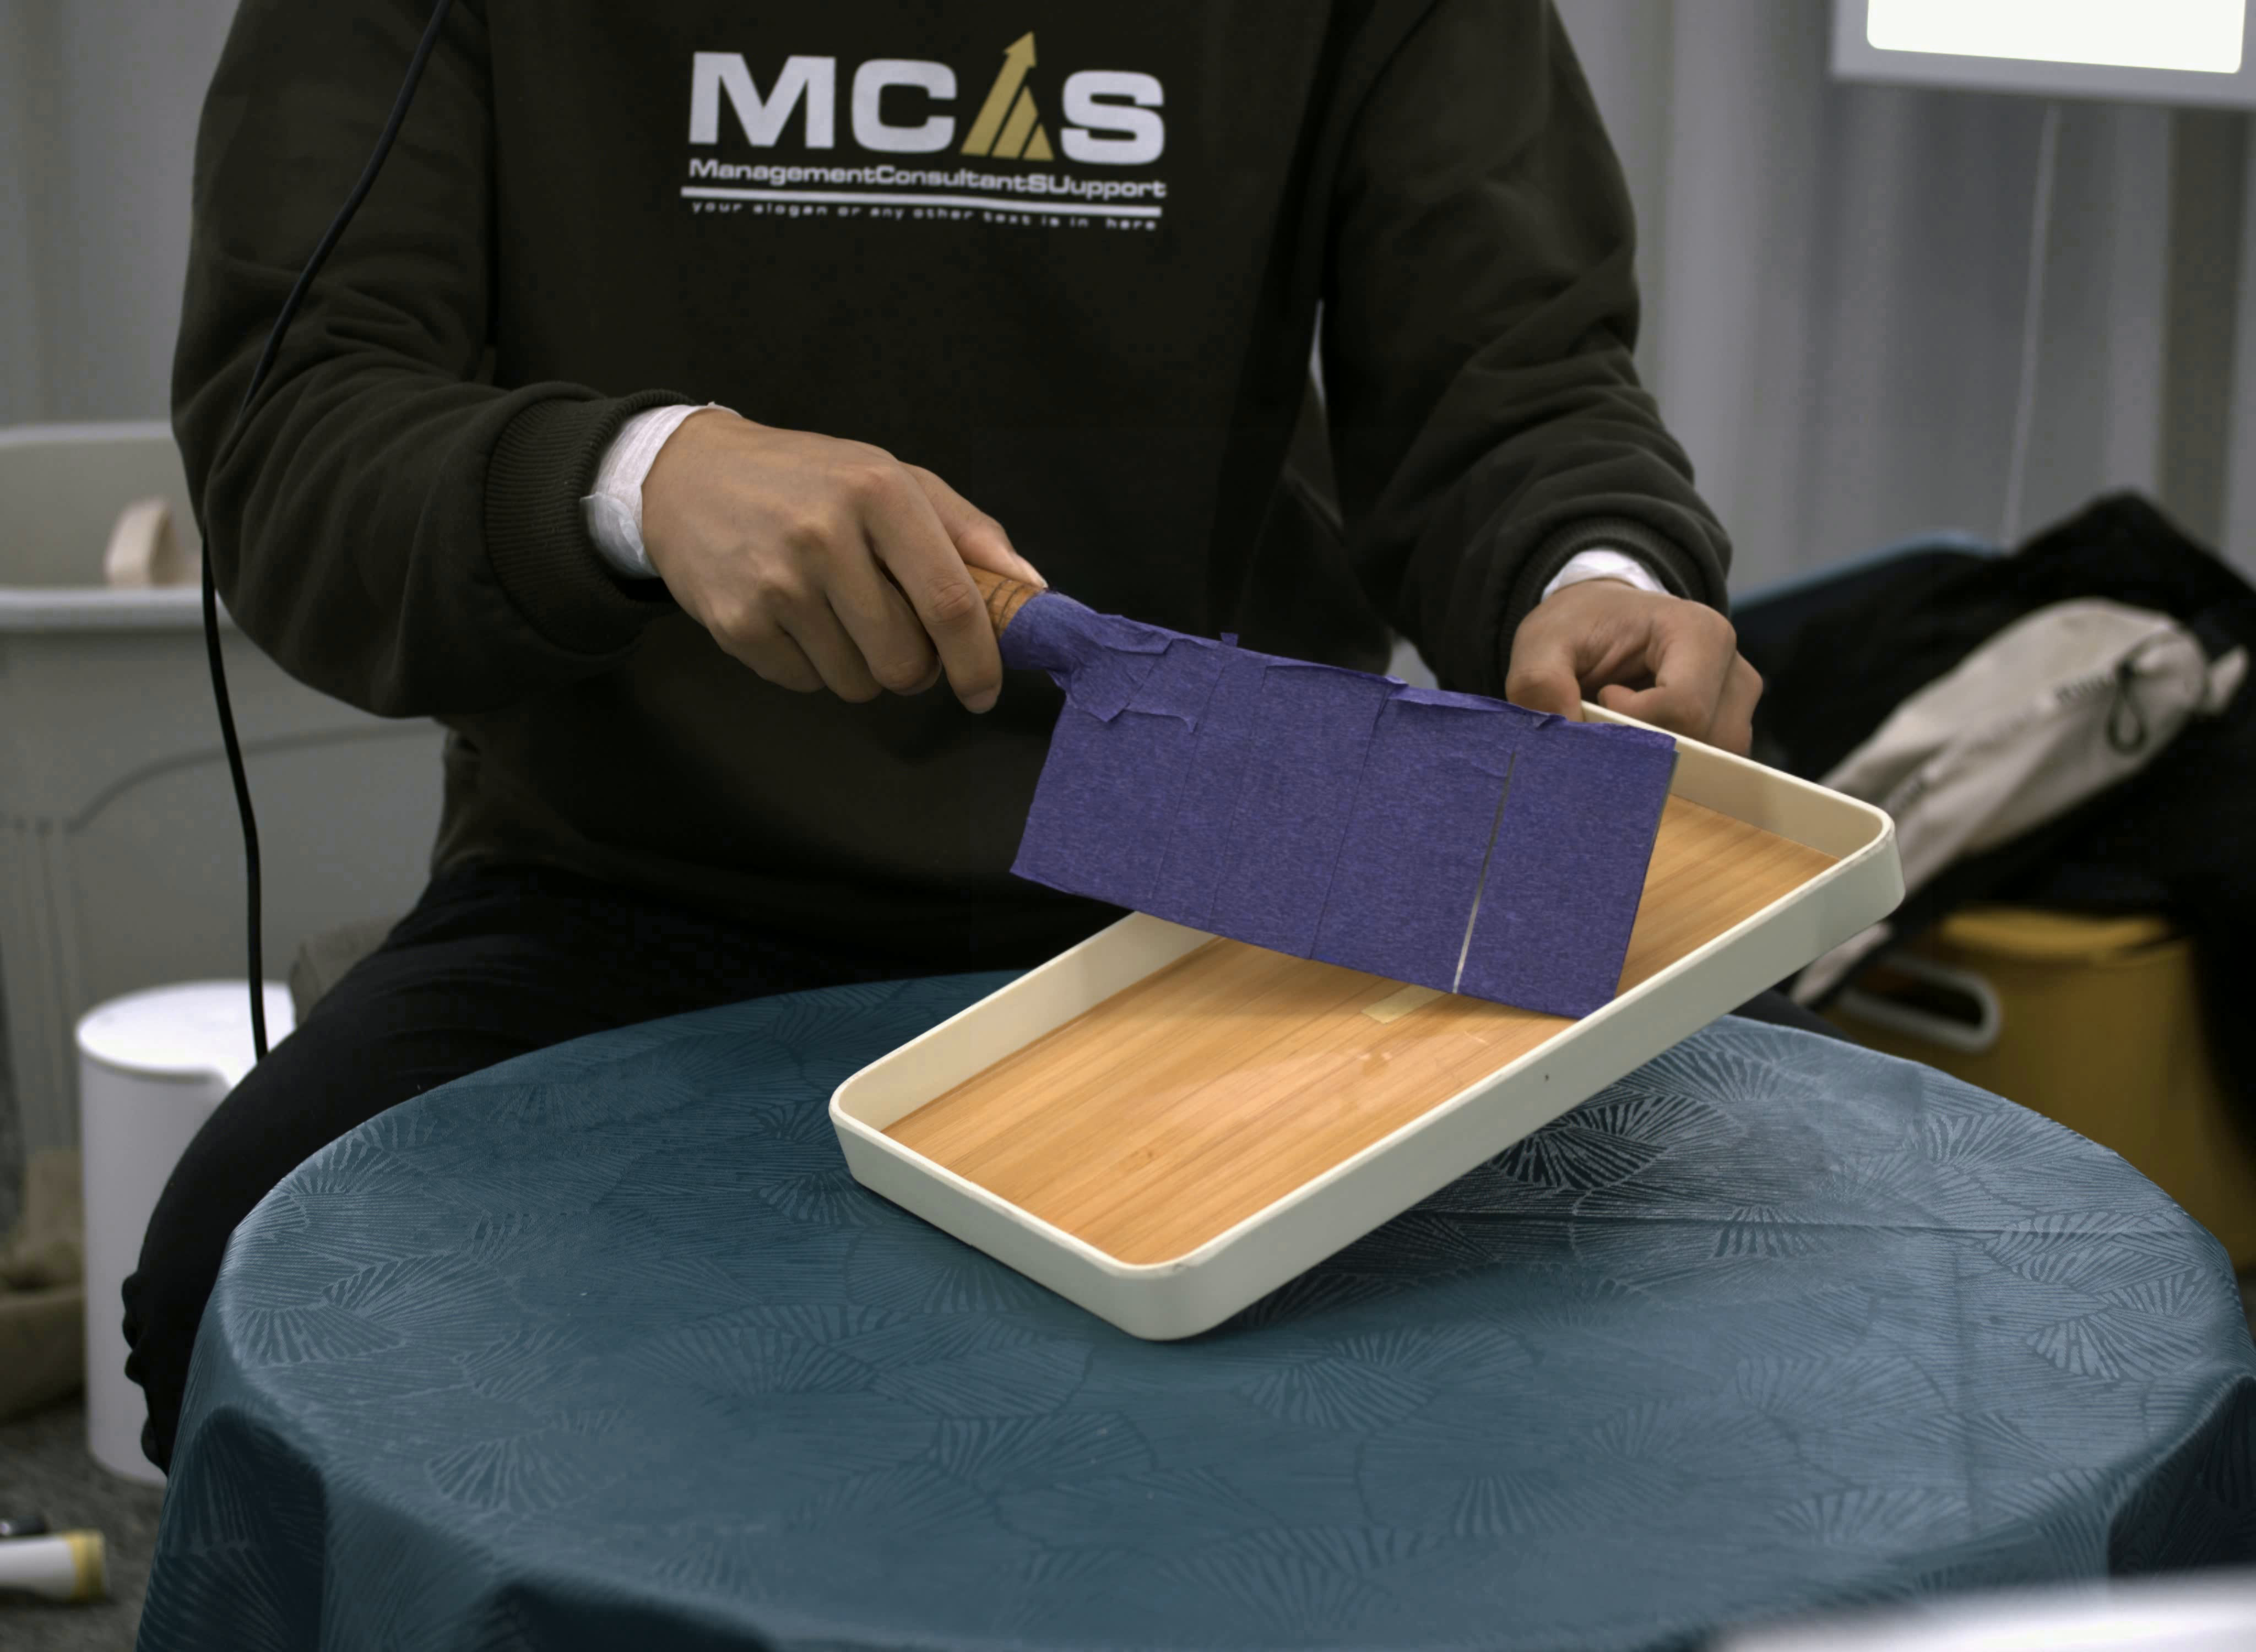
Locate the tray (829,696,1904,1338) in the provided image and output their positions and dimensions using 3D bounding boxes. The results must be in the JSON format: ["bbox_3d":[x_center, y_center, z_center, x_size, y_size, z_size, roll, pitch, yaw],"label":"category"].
[{"bbox_3d":[0.073,0.052,1.622,0.300,0.028,0.189,-29,28,-25],"label":"tray"}]

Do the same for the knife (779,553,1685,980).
[{"bbox_3d":[0.019,-0.019,1.651,0.311,0.104,0.032,12,-8,27],"label":"knife"}]
